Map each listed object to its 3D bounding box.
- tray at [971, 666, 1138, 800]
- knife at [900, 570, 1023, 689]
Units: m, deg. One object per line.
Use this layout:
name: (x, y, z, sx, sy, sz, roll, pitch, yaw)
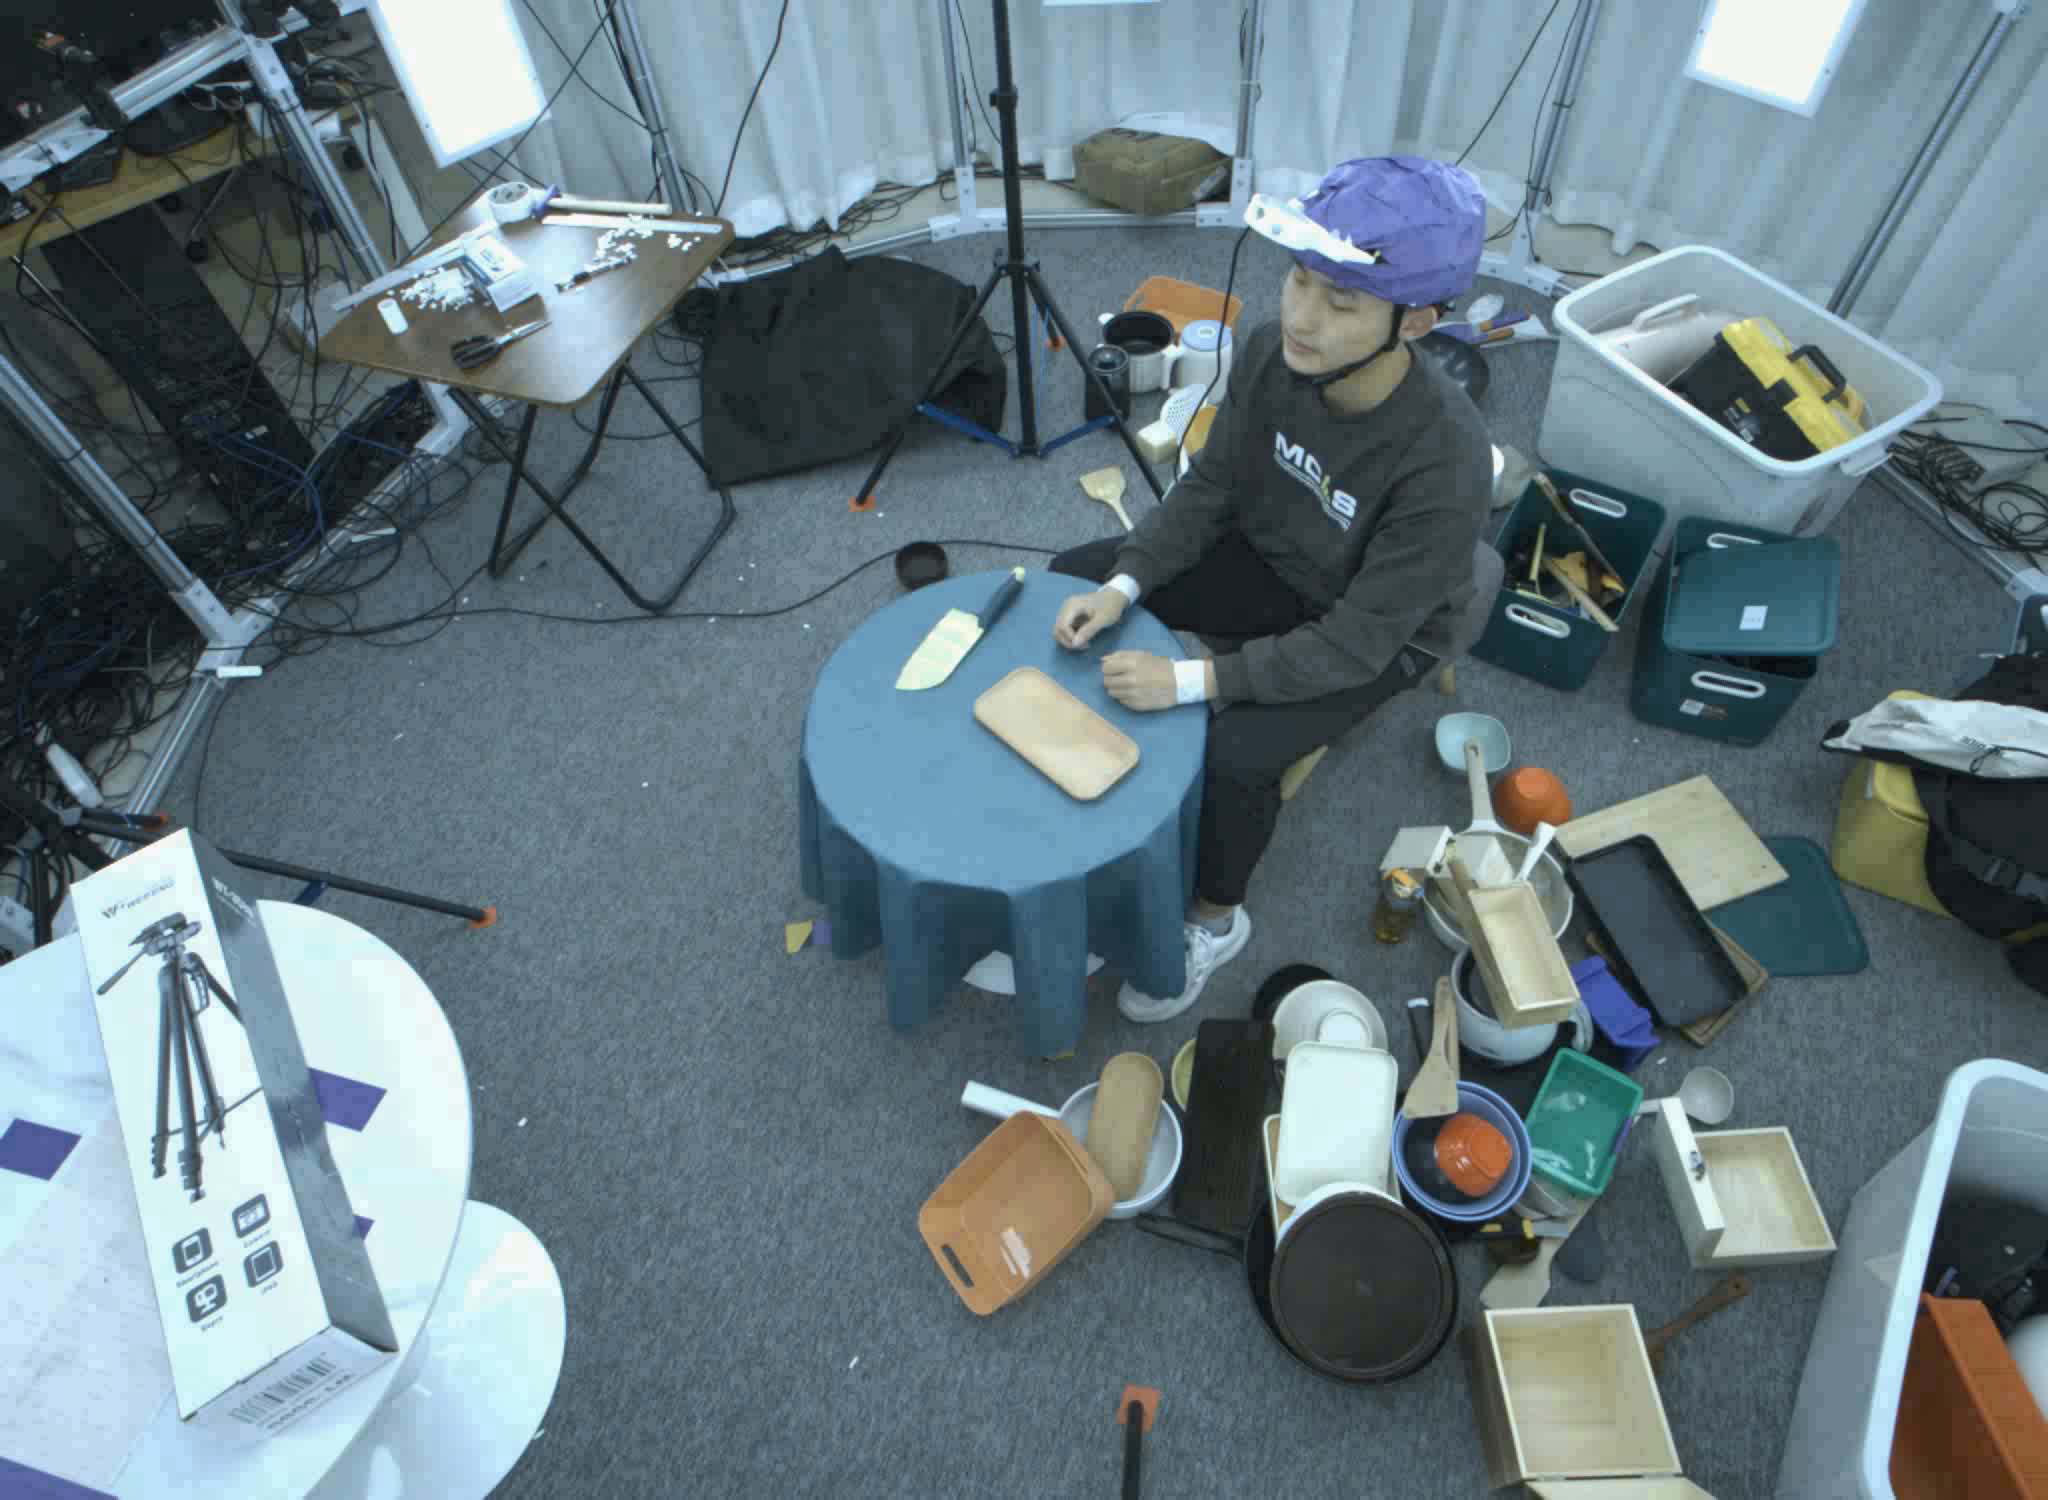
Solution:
tray: (0.043, -0.027, 1.803, 0.131, 0.023, 0.246, -38, 61, -26)
knife: (-0.097, -0.192, 1.926, 0.080, 0.027, 0.291, 30, 61, 19)
